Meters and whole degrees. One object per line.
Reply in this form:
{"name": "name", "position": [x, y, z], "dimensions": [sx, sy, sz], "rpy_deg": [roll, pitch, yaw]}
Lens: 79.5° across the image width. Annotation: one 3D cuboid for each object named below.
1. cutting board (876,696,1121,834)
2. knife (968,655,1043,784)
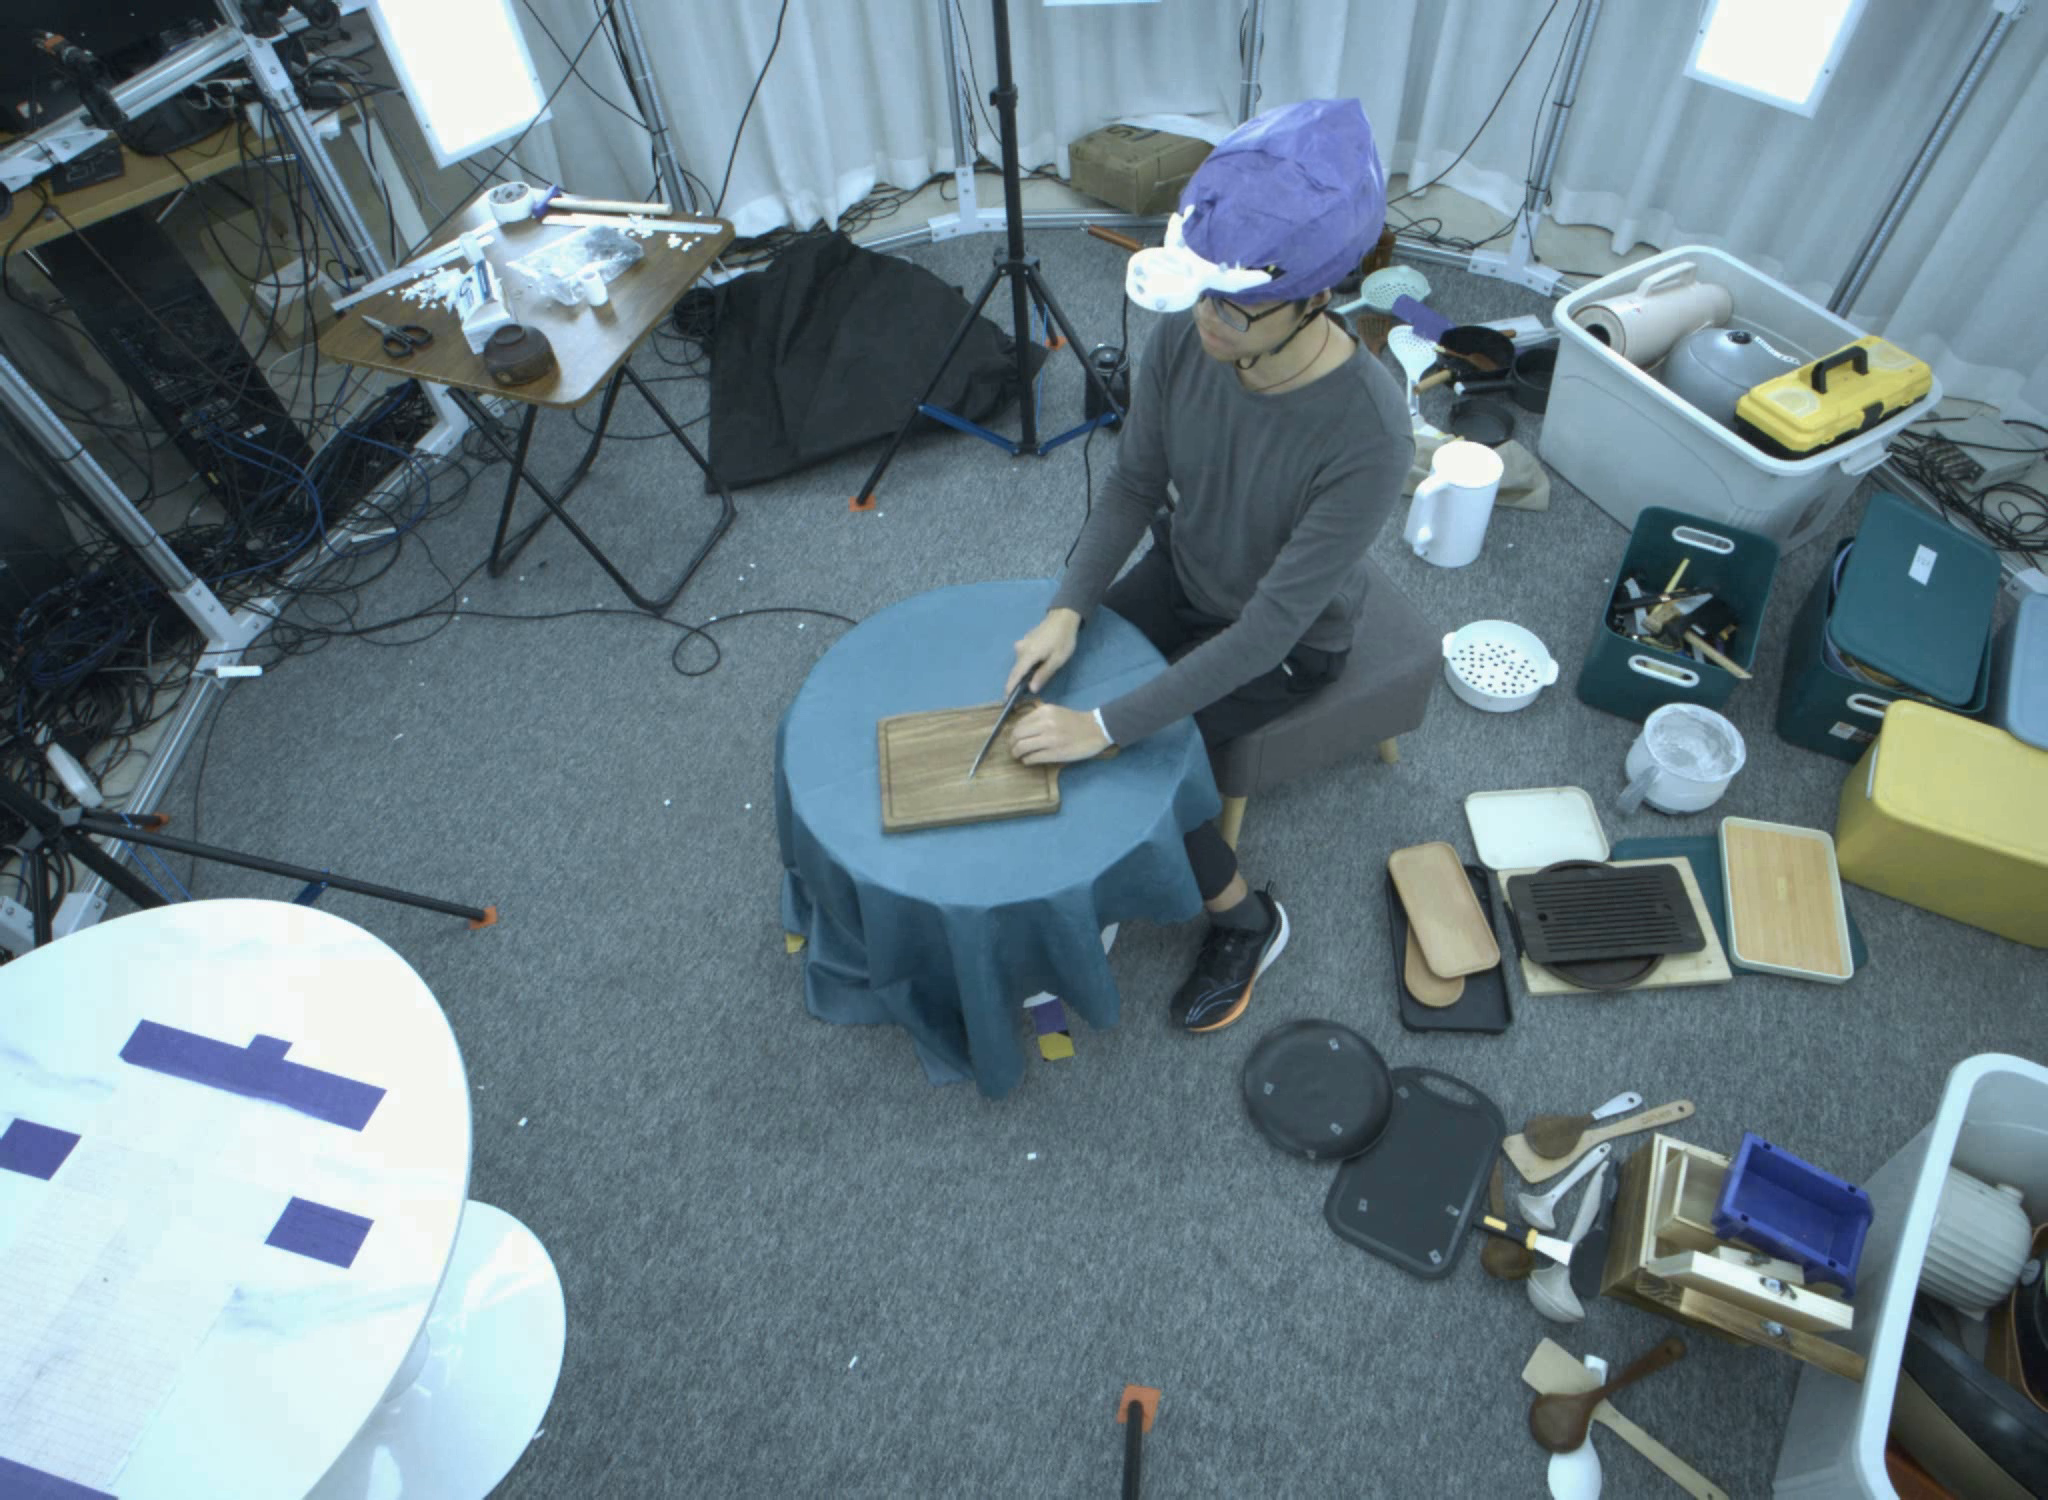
{"name": "cutting board", "position": [-0.033, 0.012, 1.775], "dimensions": [0.353, 0.023, 0.198], "rpy_deg": [-7, 55, -4]}
{"name": "knife", "position": [-0.028, -0.048, 1.789], "dimensions": [0.016, 0.025, 0.238], "rpy_deg": [17, 62, 22]}
